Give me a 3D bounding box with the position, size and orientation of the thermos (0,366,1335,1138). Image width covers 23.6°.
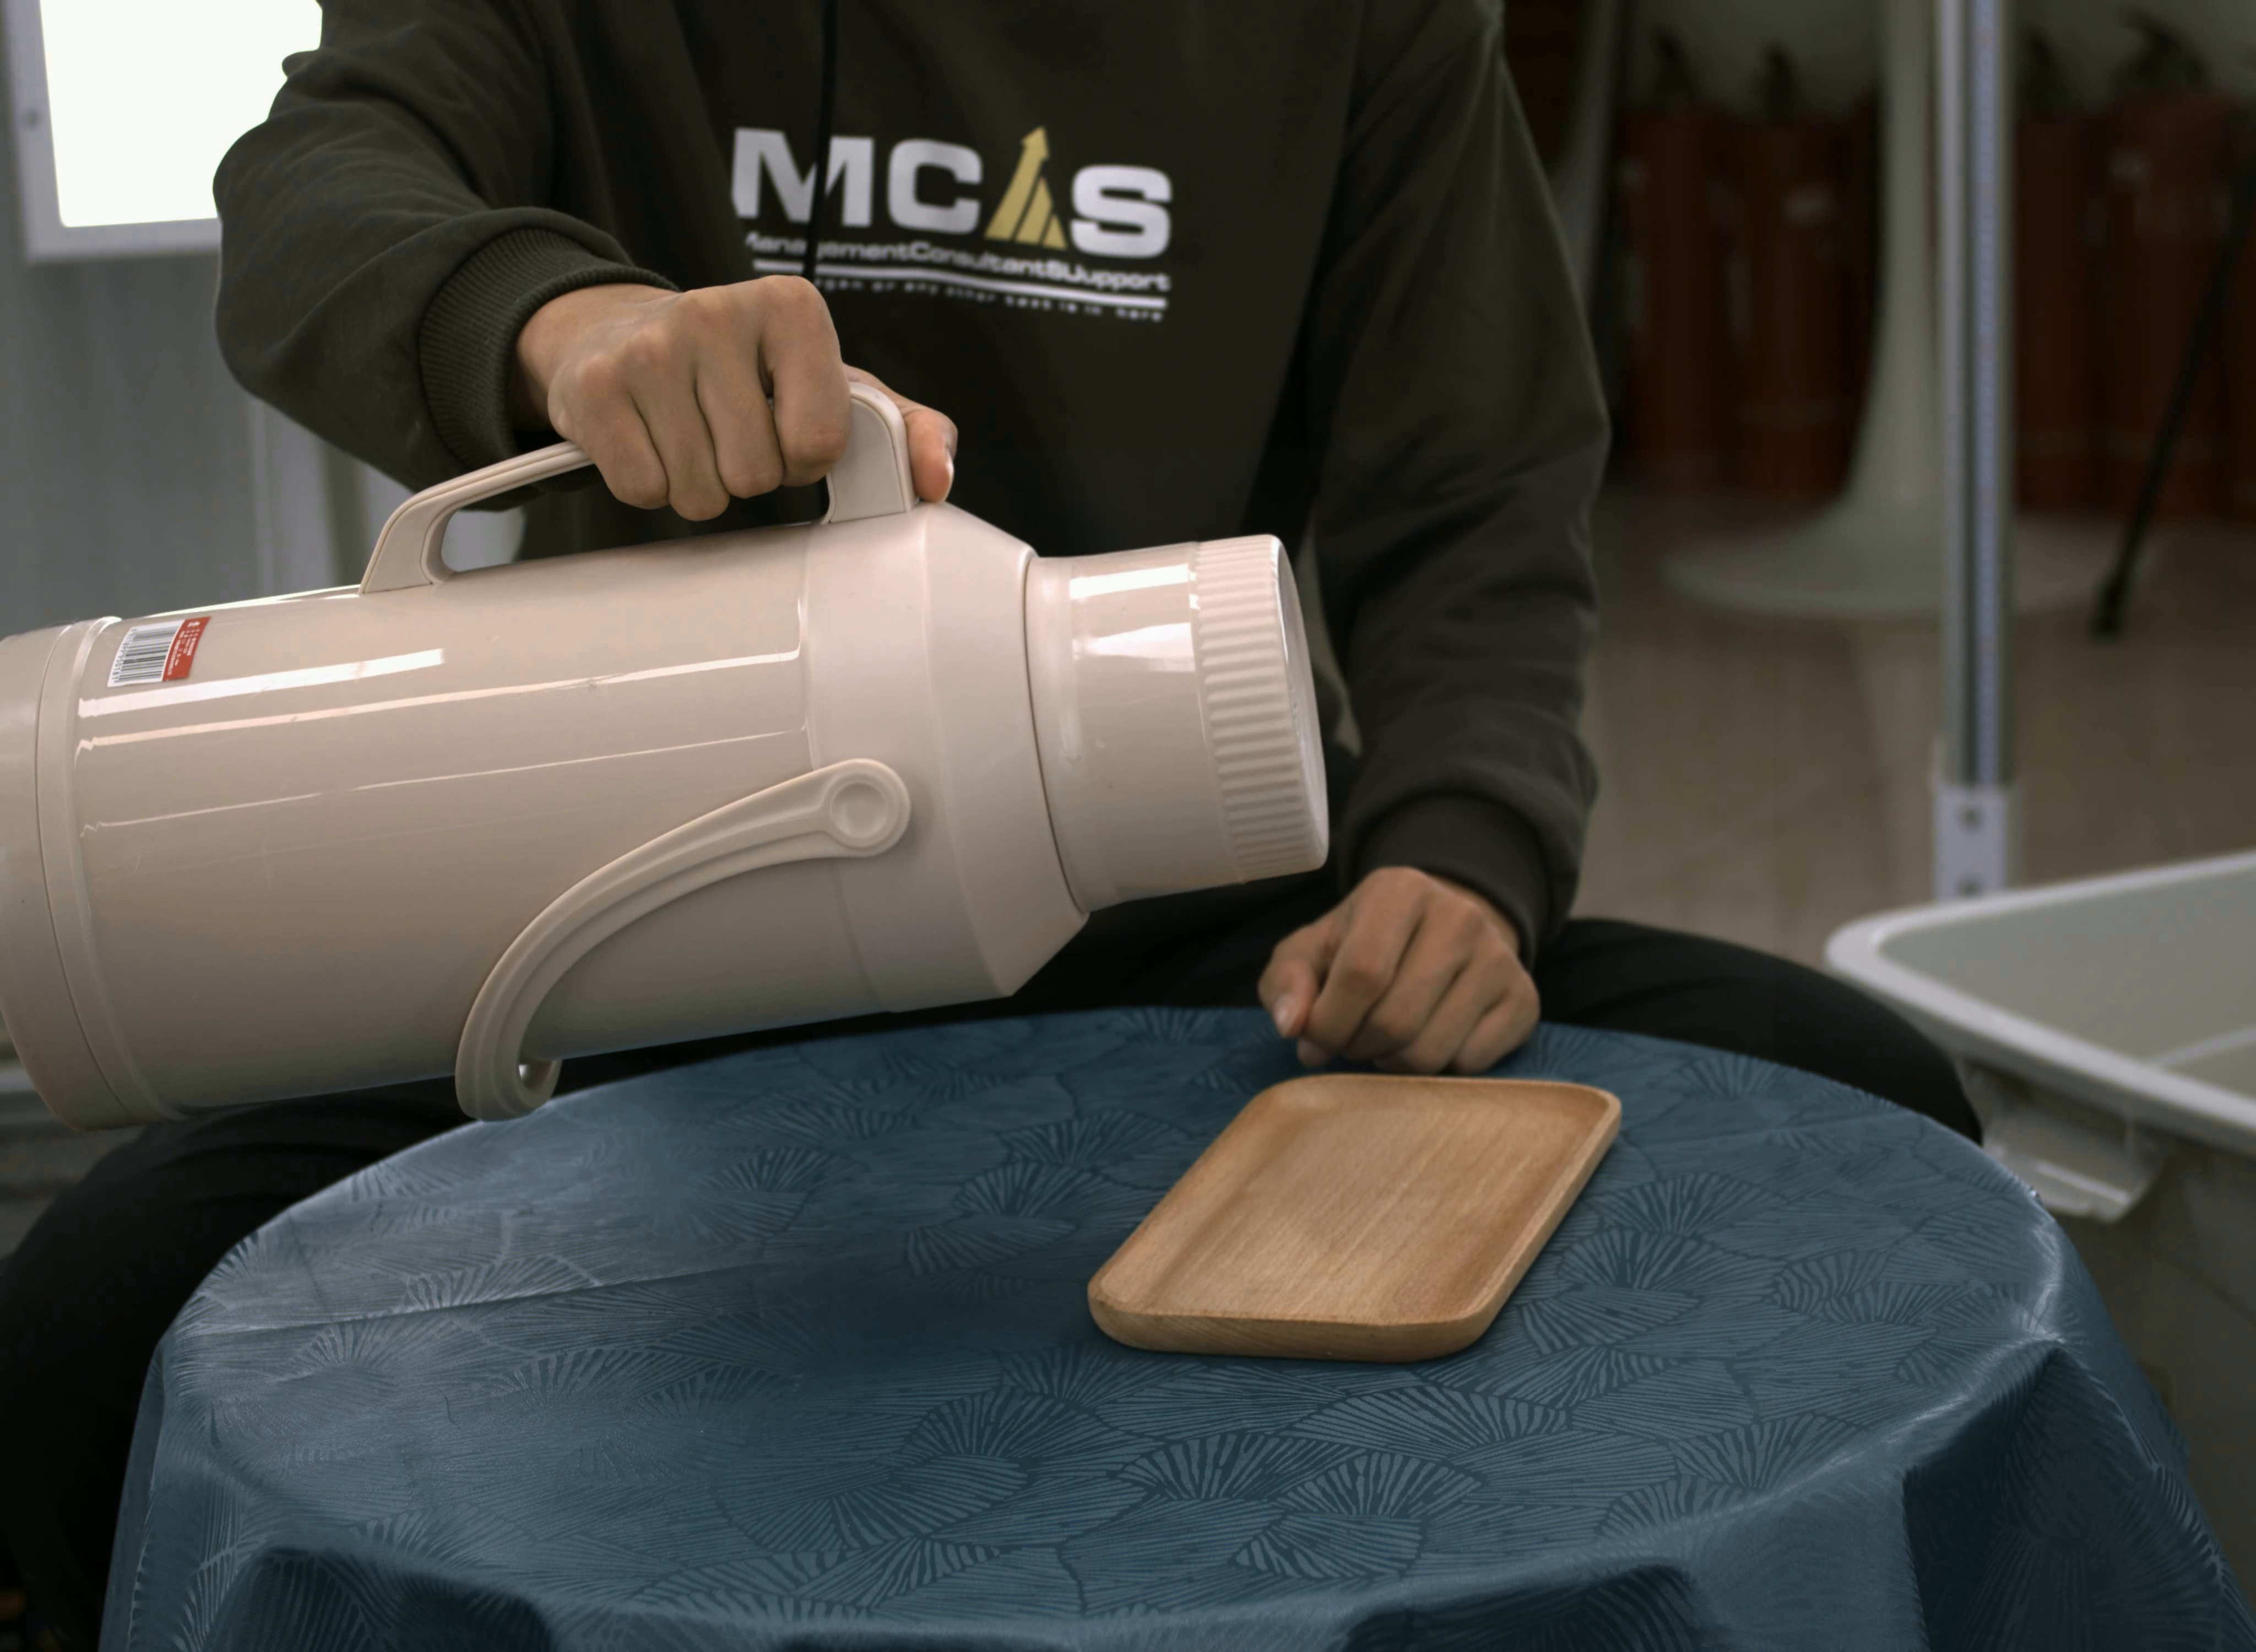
[{"bbox_3d":[-0.143,-0.026,1.669,0.403,0.209,0.175,-9,9,9],"label":"thermos"}]

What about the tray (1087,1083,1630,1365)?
[{"bbox_3d":[0.077,0.124,1.713,0.130,0.023,0.248,3,14,18],"label":"tray"}]
